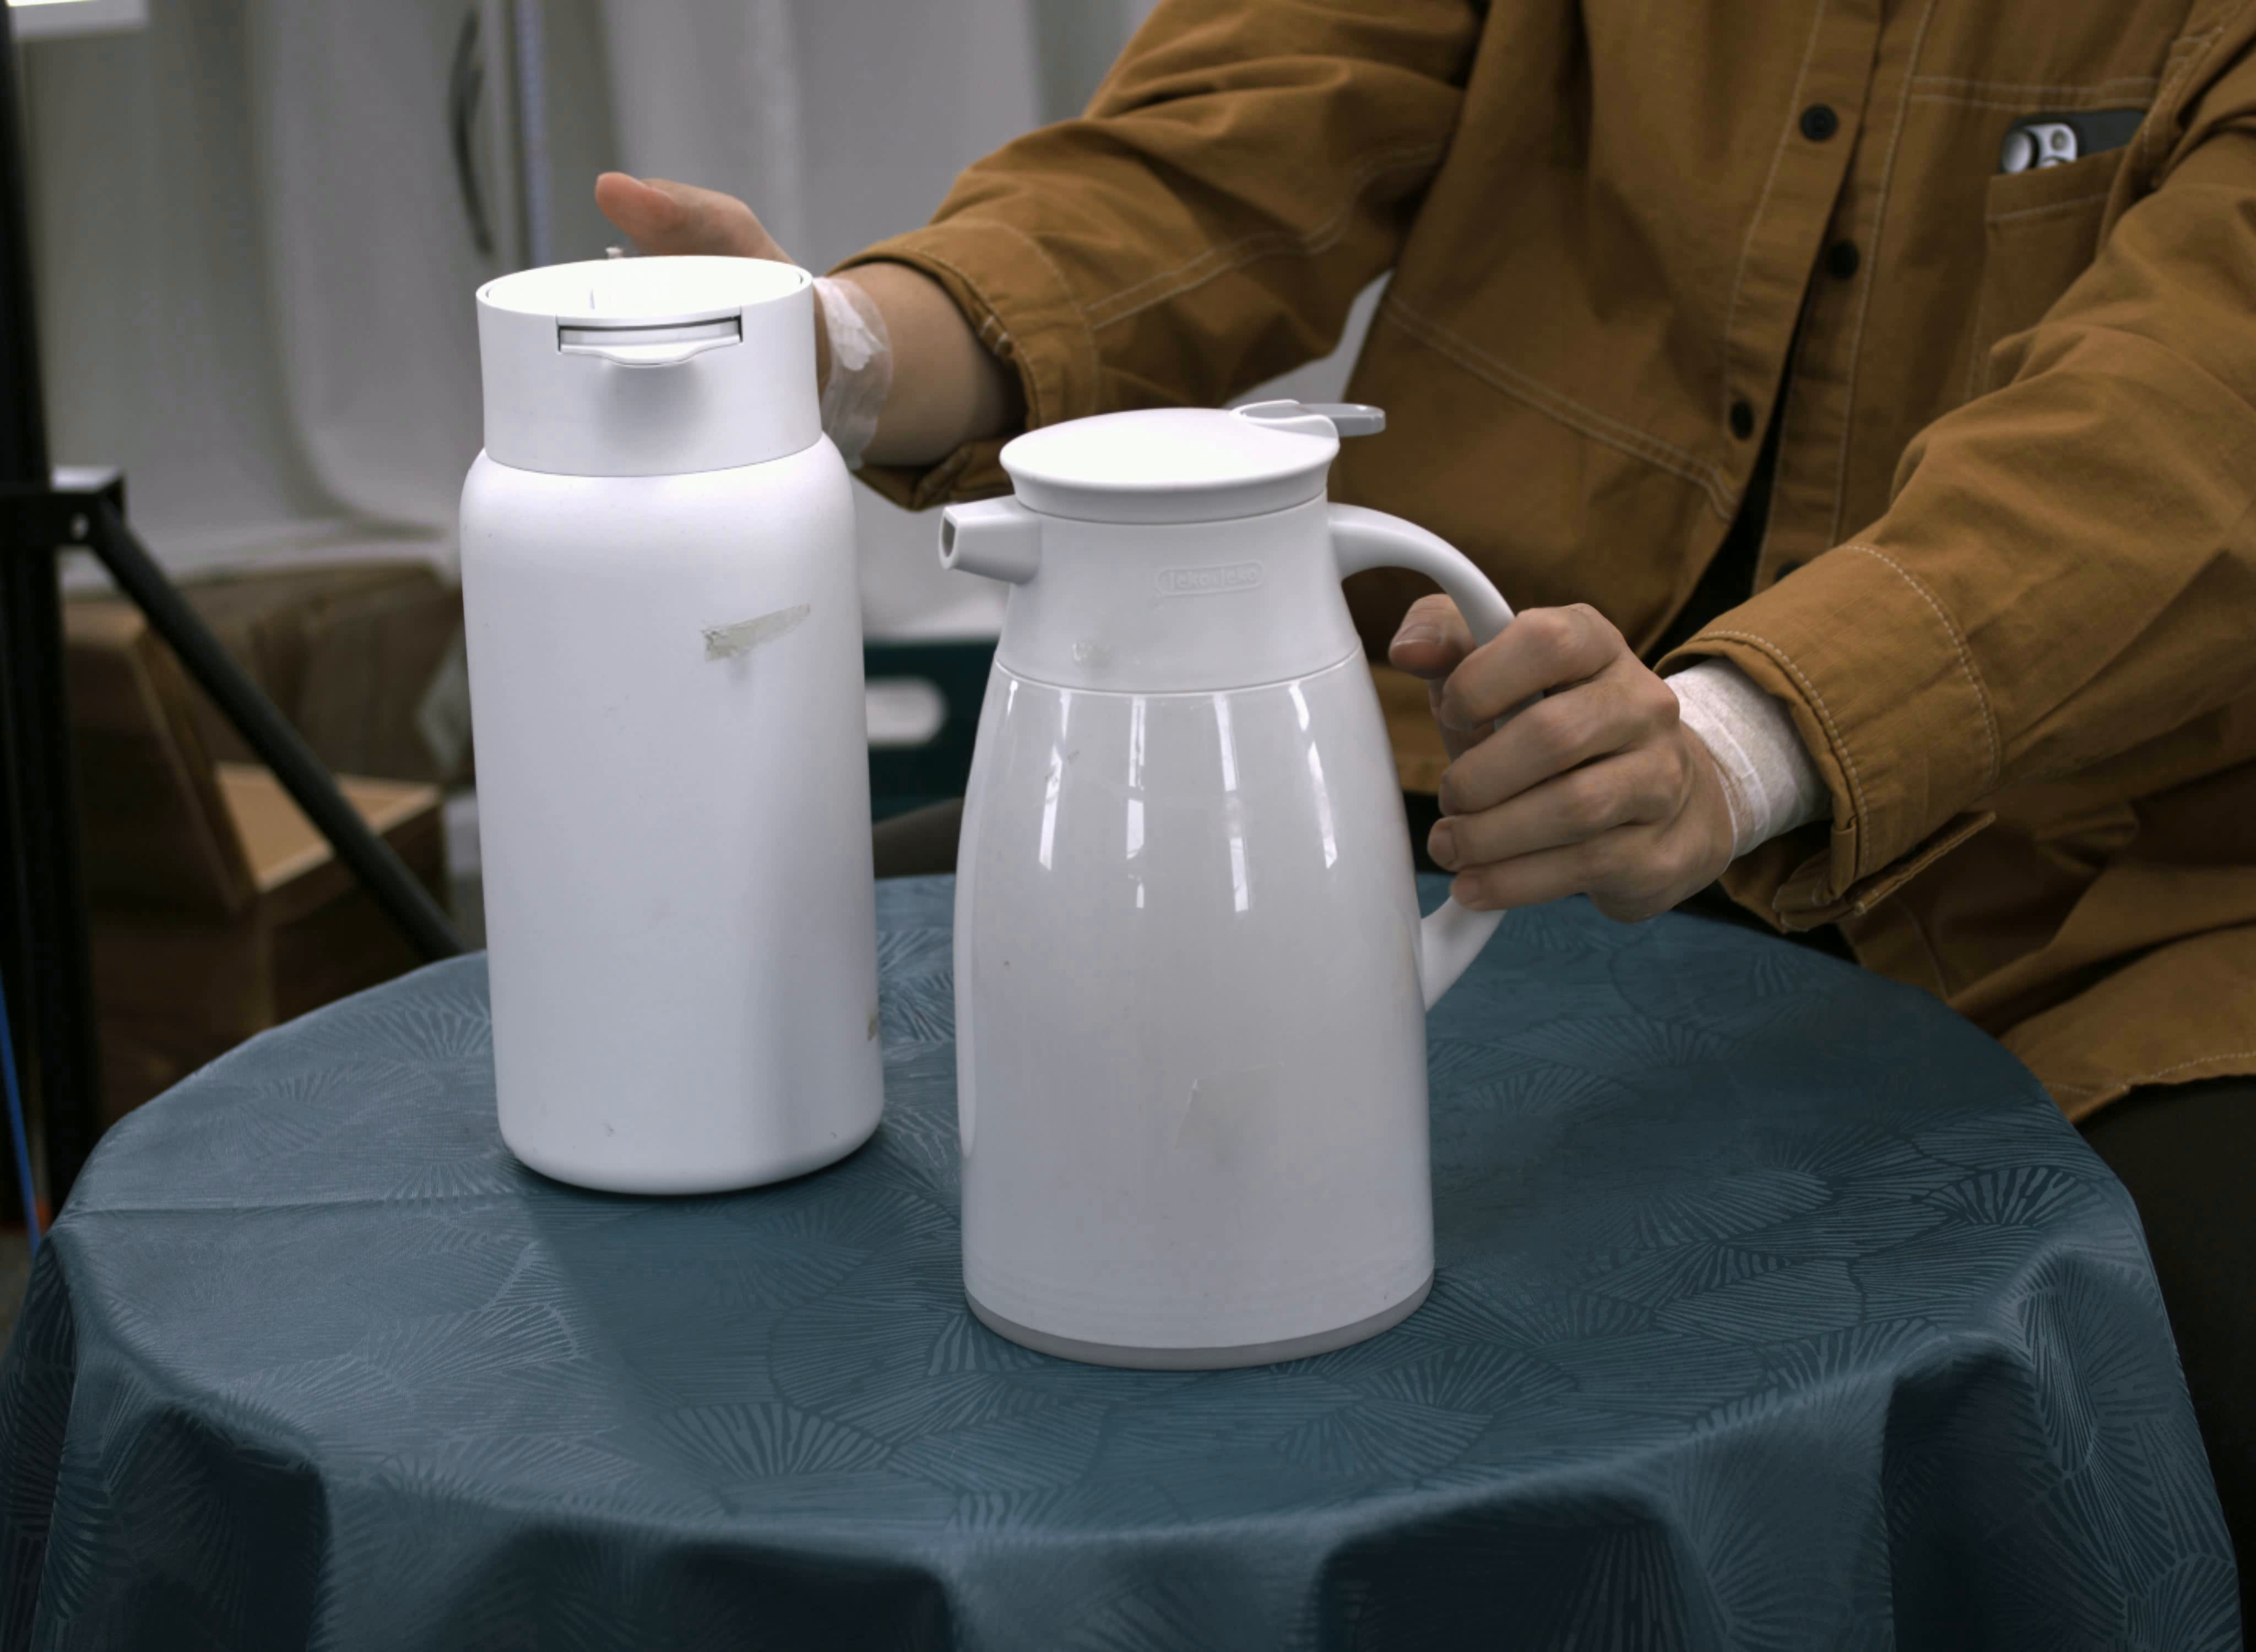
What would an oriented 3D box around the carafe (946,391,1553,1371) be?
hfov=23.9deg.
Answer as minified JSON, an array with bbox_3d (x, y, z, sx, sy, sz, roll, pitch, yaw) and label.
[{"bbox_3d":[0.034,0.007,1.452,0.165,0.248,0.134,-5,15,-13],"label":"carafe"}]

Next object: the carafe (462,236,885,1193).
[{"bbox_3d":[-0.139,-0.037,1.601,0.123,0.269,0.174,-5,15,-4],"label":"carafe"}]
